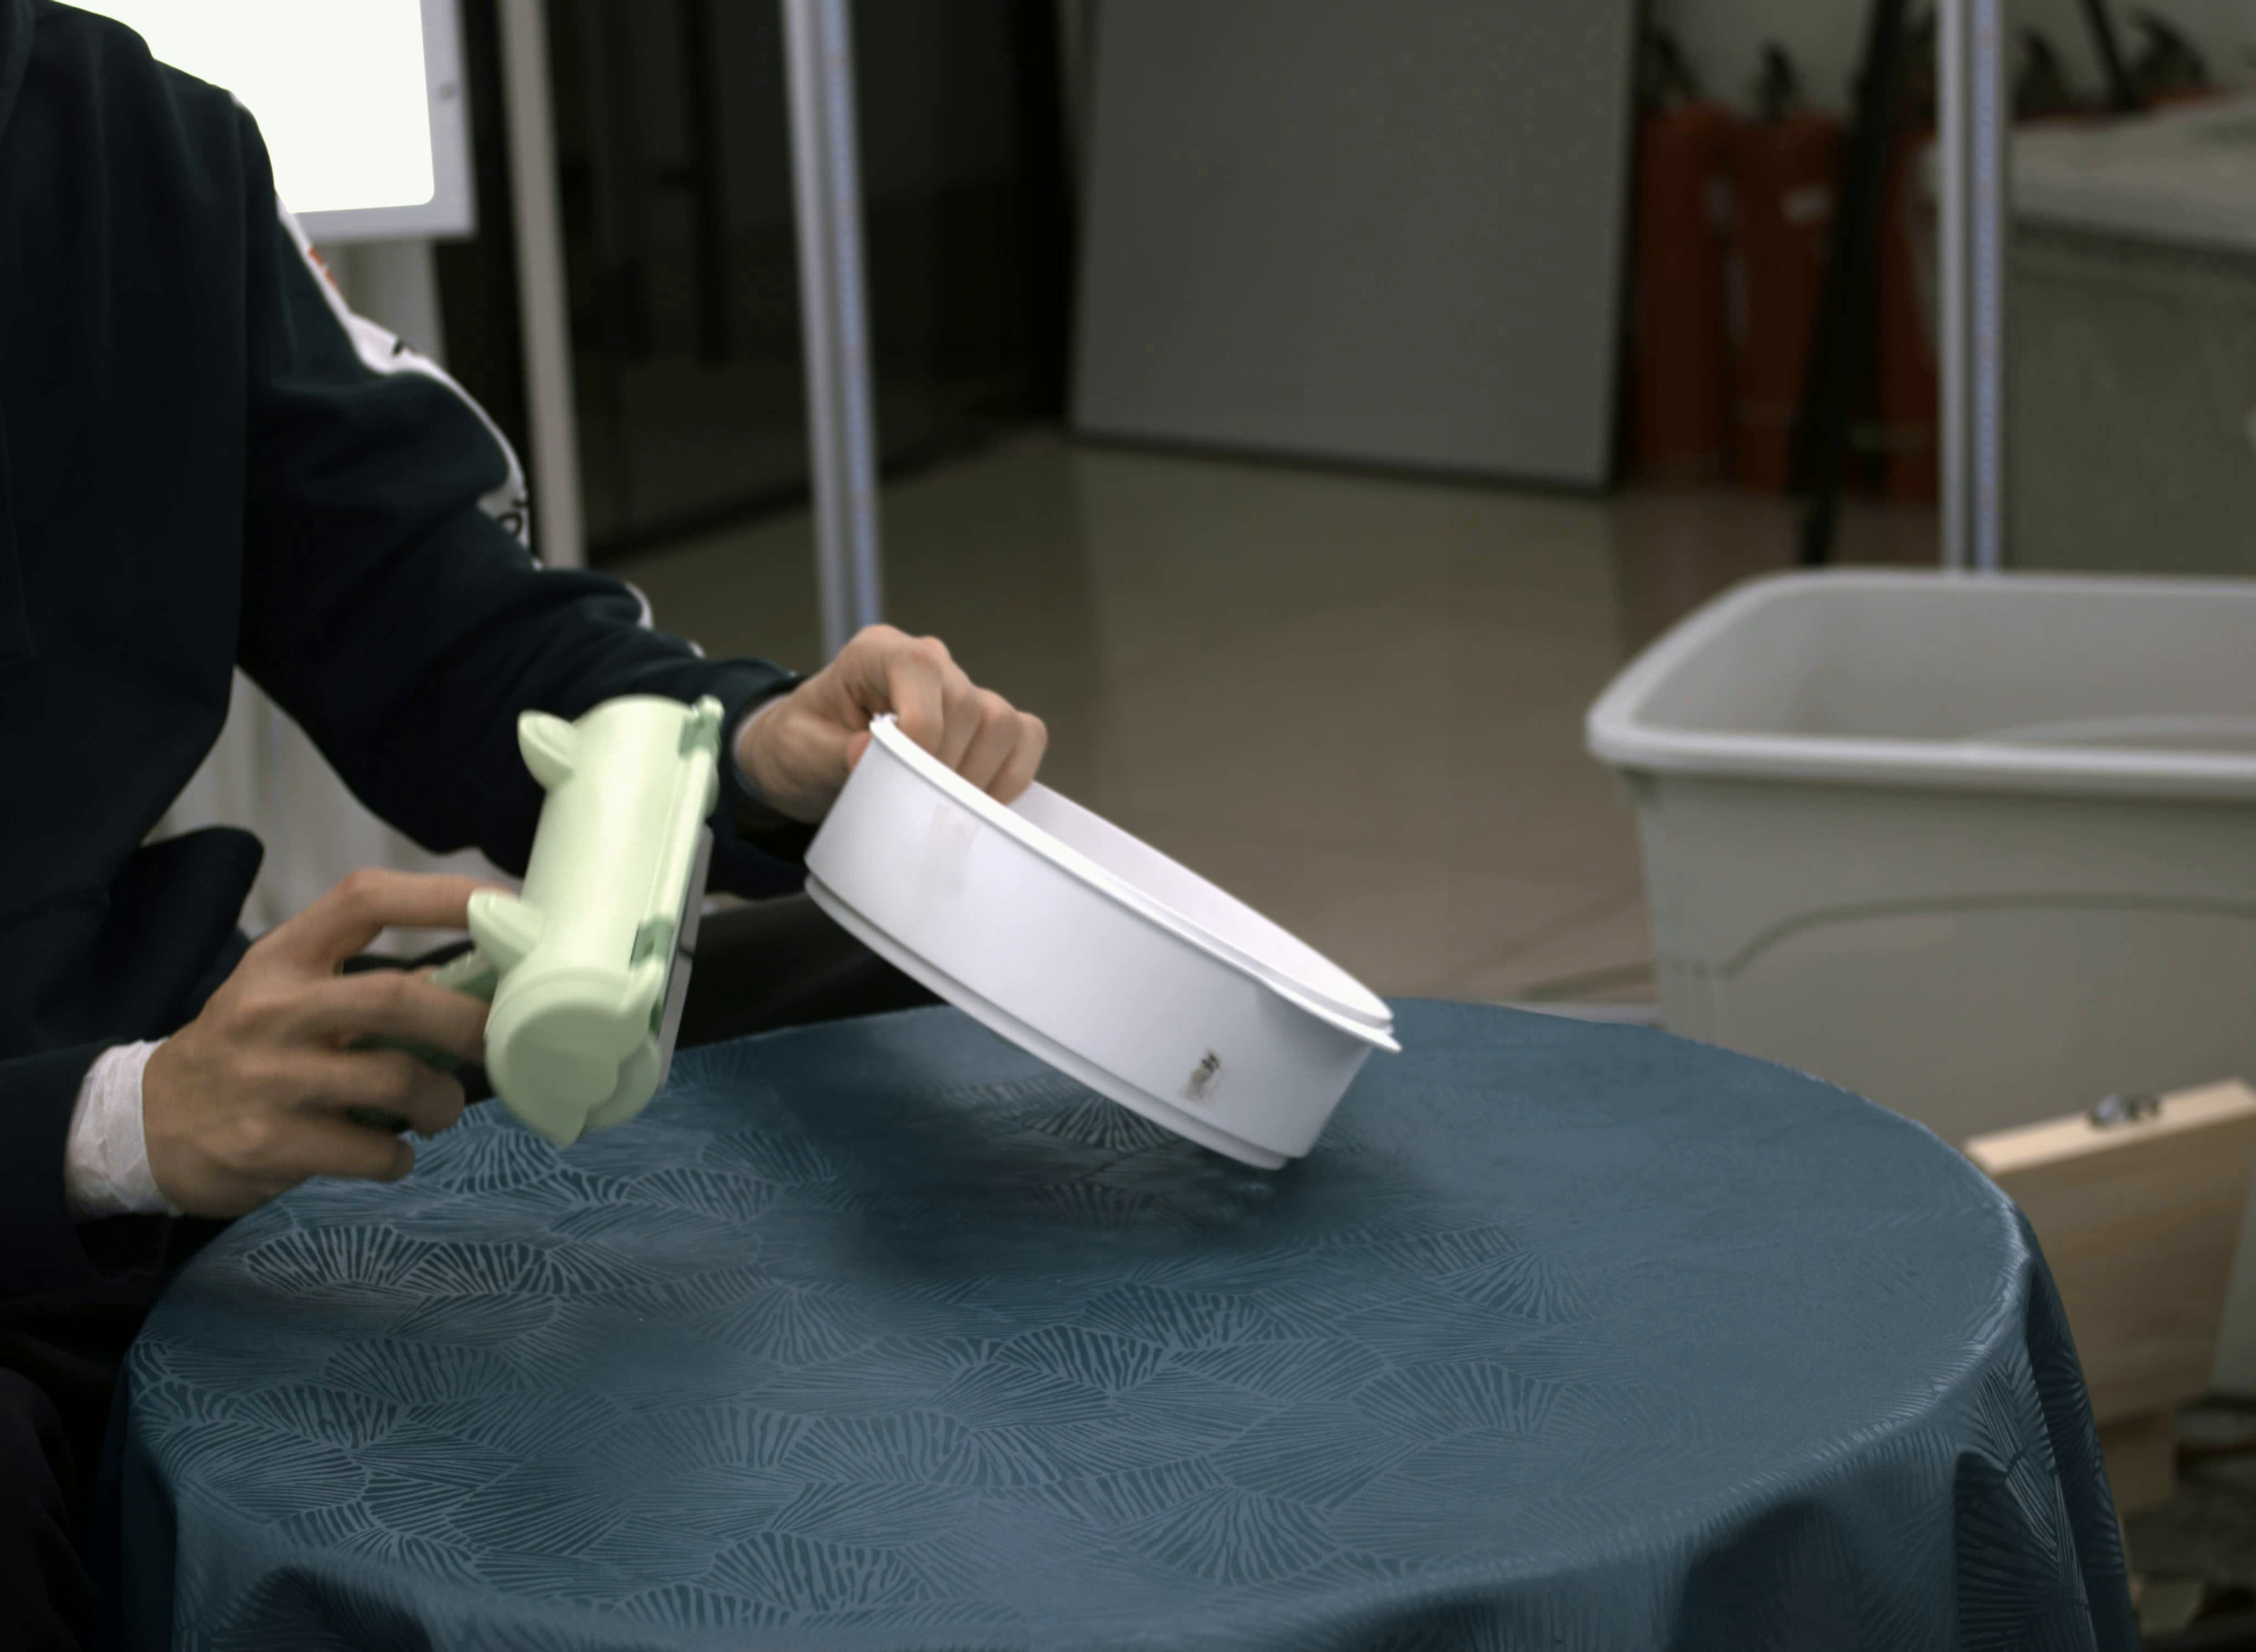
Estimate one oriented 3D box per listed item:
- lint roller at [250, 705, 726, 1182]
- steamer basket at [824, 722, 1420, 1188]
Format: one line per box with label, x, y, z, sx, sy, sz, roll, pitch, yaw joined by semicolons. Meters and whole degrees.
lint roller;-0.211;0.046;1.677;0.183;0.082;0.199;-25;24;16
steamer basket;-0.007;0.045;1.772;0.233;0.070;0.198;35;7;38
